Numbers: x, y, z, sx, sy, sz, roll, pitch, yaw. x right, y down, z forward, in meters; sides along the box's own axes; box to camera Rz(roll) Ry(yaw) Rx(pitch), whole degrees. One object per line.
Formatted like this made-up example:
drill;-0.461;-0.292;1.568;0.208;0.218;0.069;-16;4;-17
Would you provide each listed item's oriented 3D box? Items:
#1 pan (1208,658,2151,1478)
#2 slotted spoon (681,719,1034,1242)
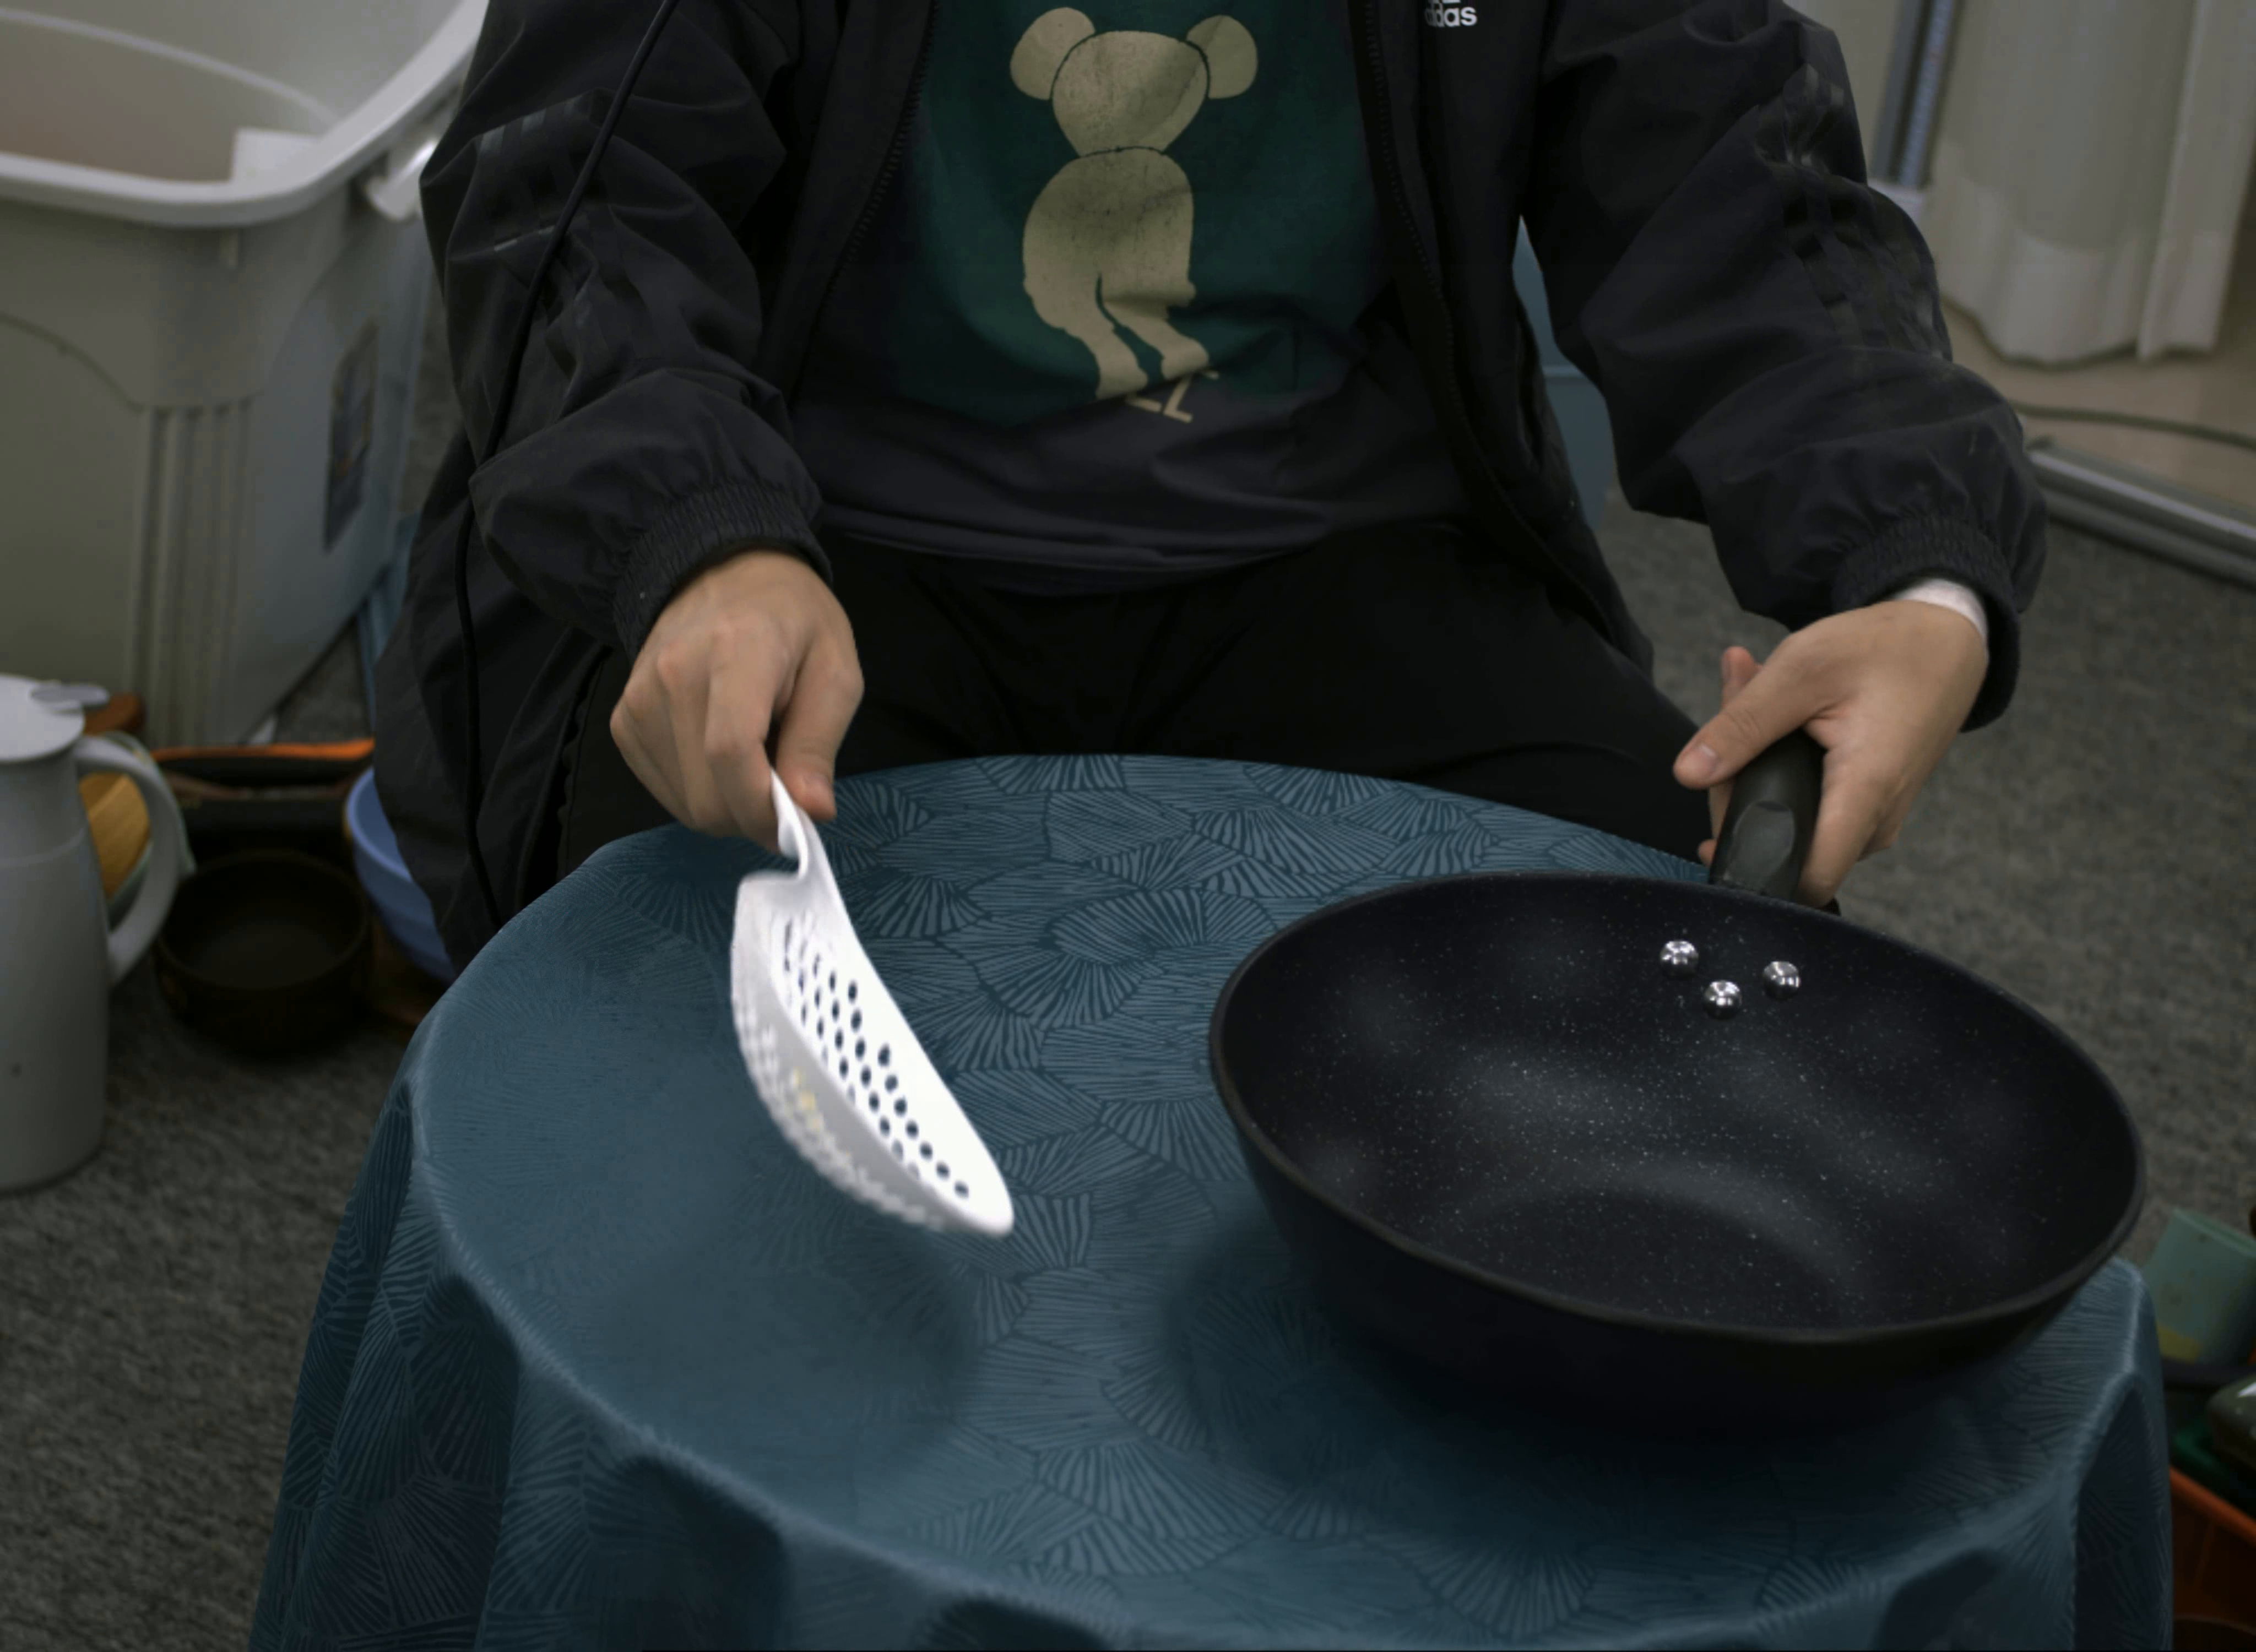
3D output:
pan;0.196;0.082;1.815;0.310;0.111;0.478;13;27;10
slotted spoon;-0.110;0.037;1.796;0.136;0.050;0.350;45;13;-27
